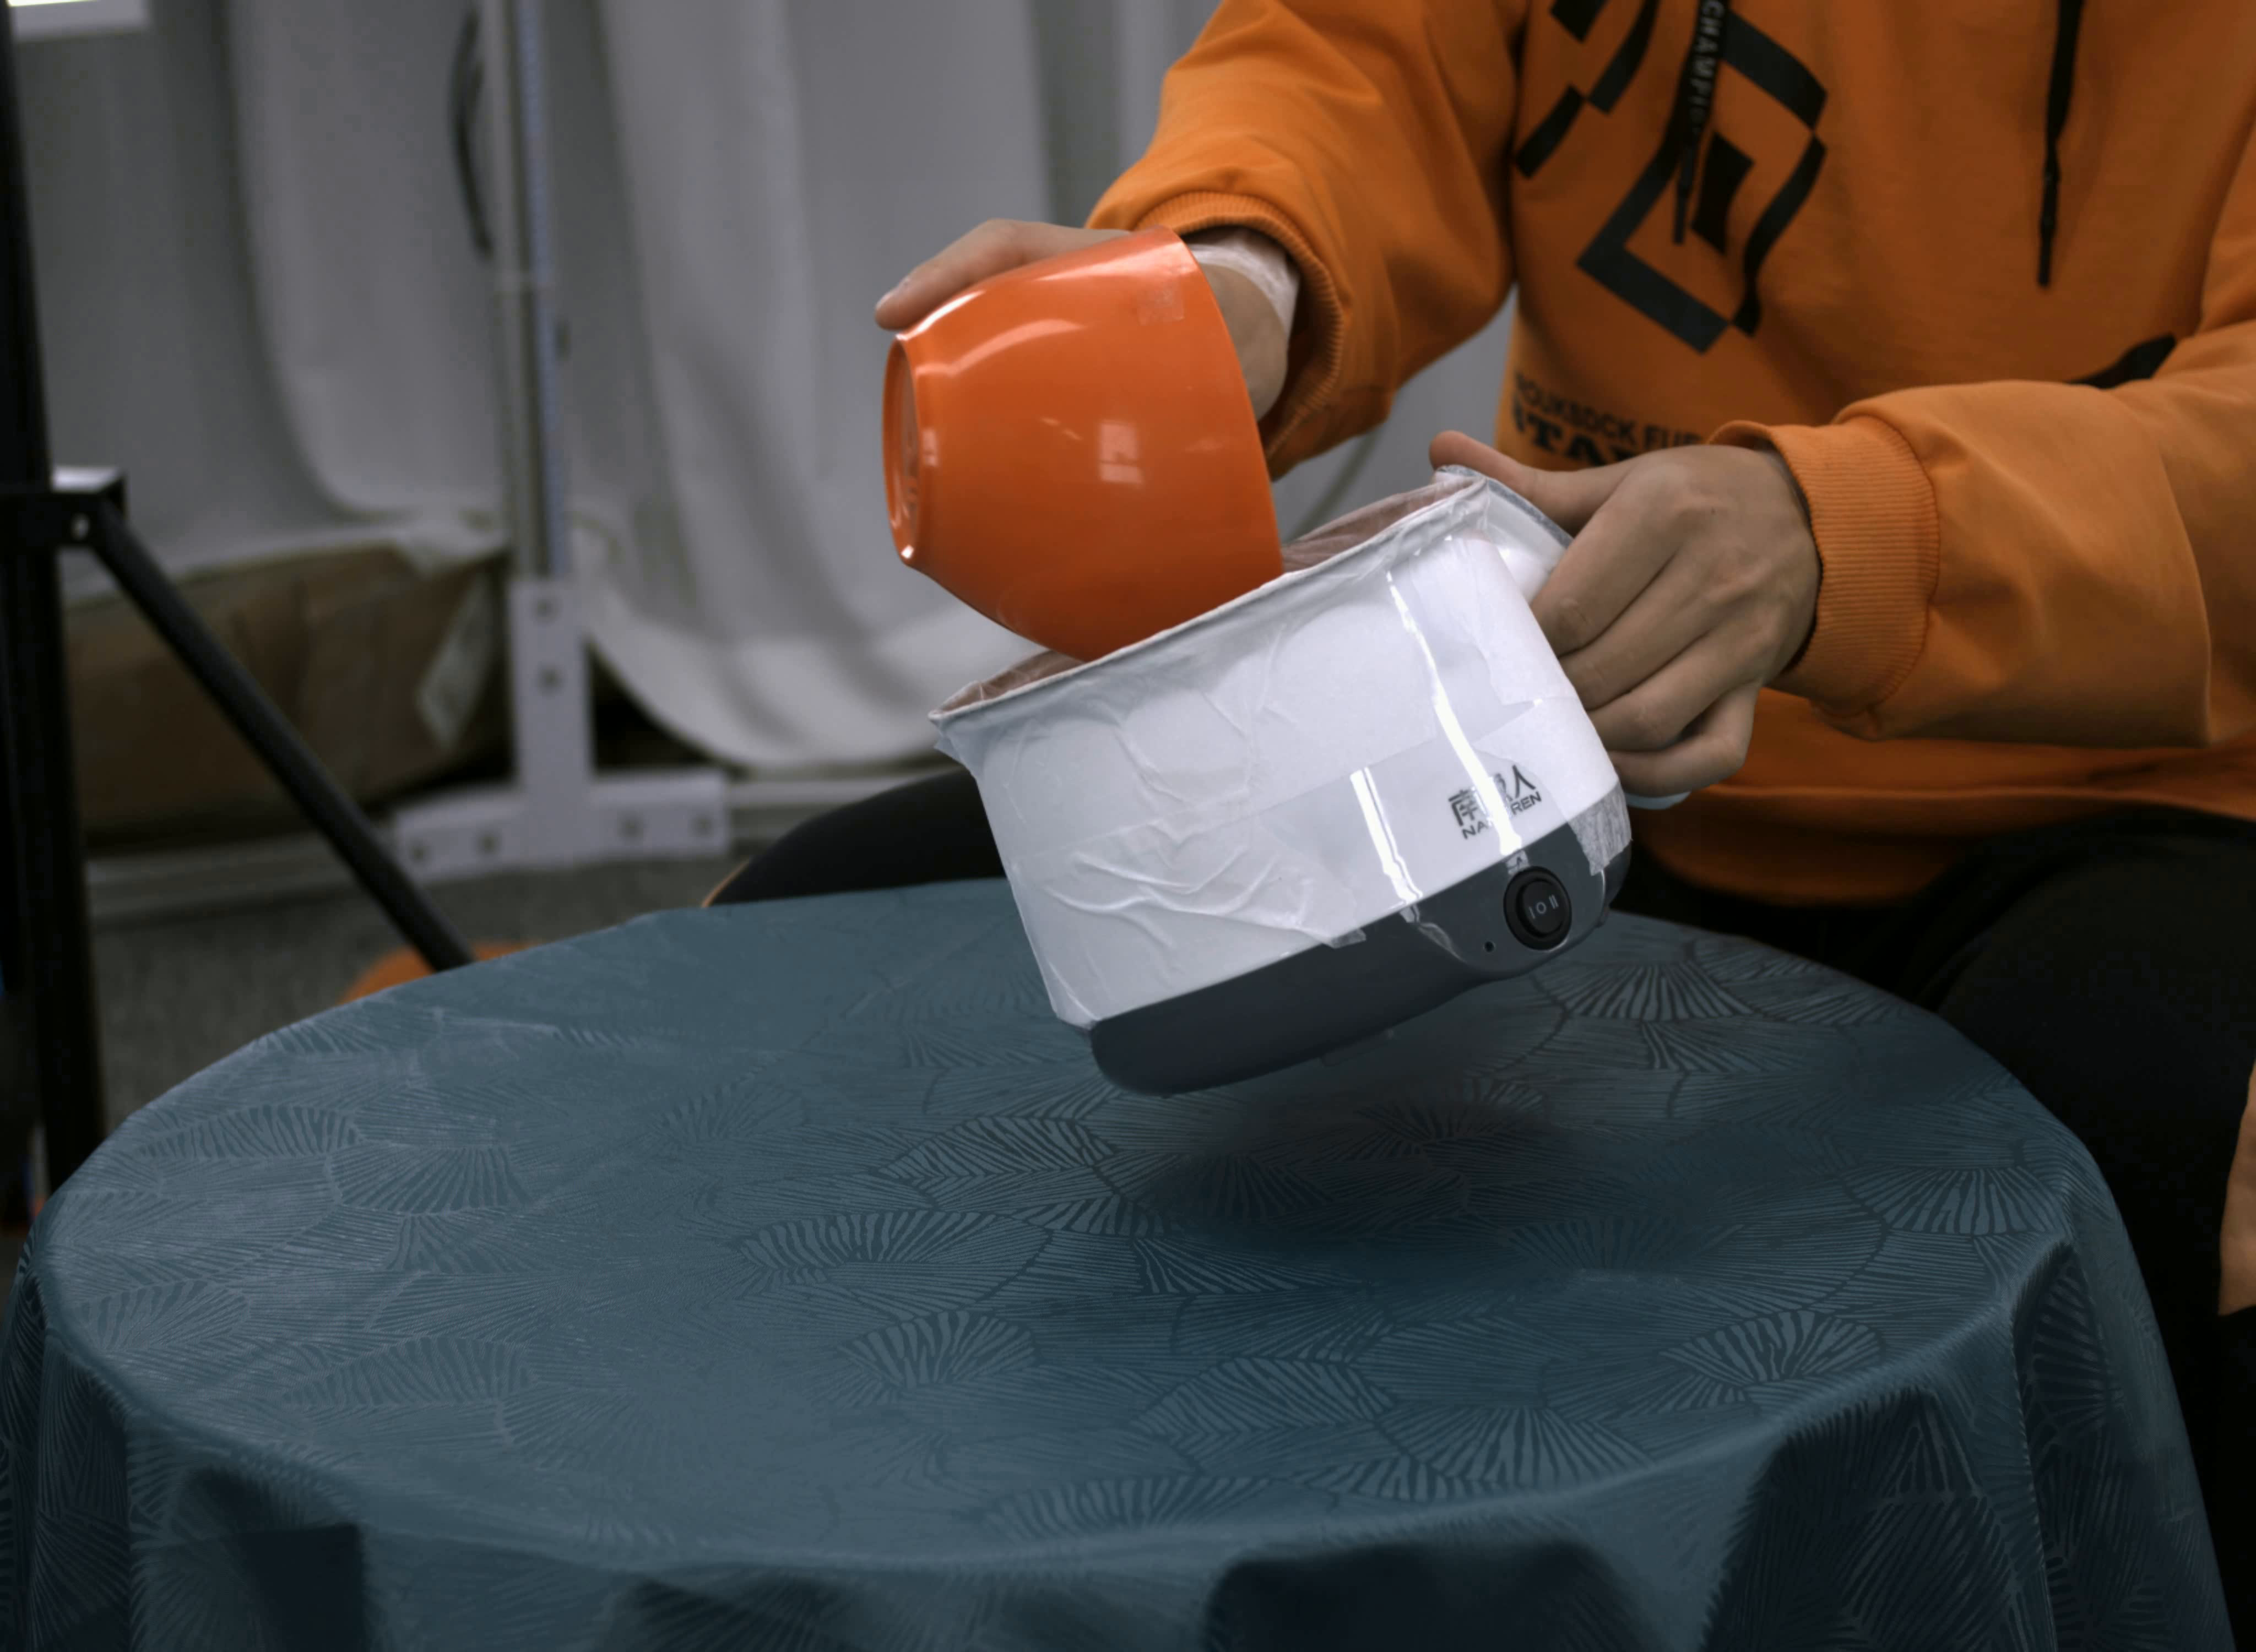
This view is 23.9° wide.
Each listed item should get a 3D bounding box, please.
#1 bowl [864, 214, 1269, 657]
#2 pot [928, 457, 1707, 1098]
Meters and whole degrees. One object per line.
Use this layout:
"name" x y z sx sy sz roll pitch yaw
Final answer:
"bowl" -0.020 -0.102 1.546 0.103 0.148 0.150 -3 16 -11
"pot" 0.068 -0.020 1.556 0.229 0.137 0.182 -27 6 -35
